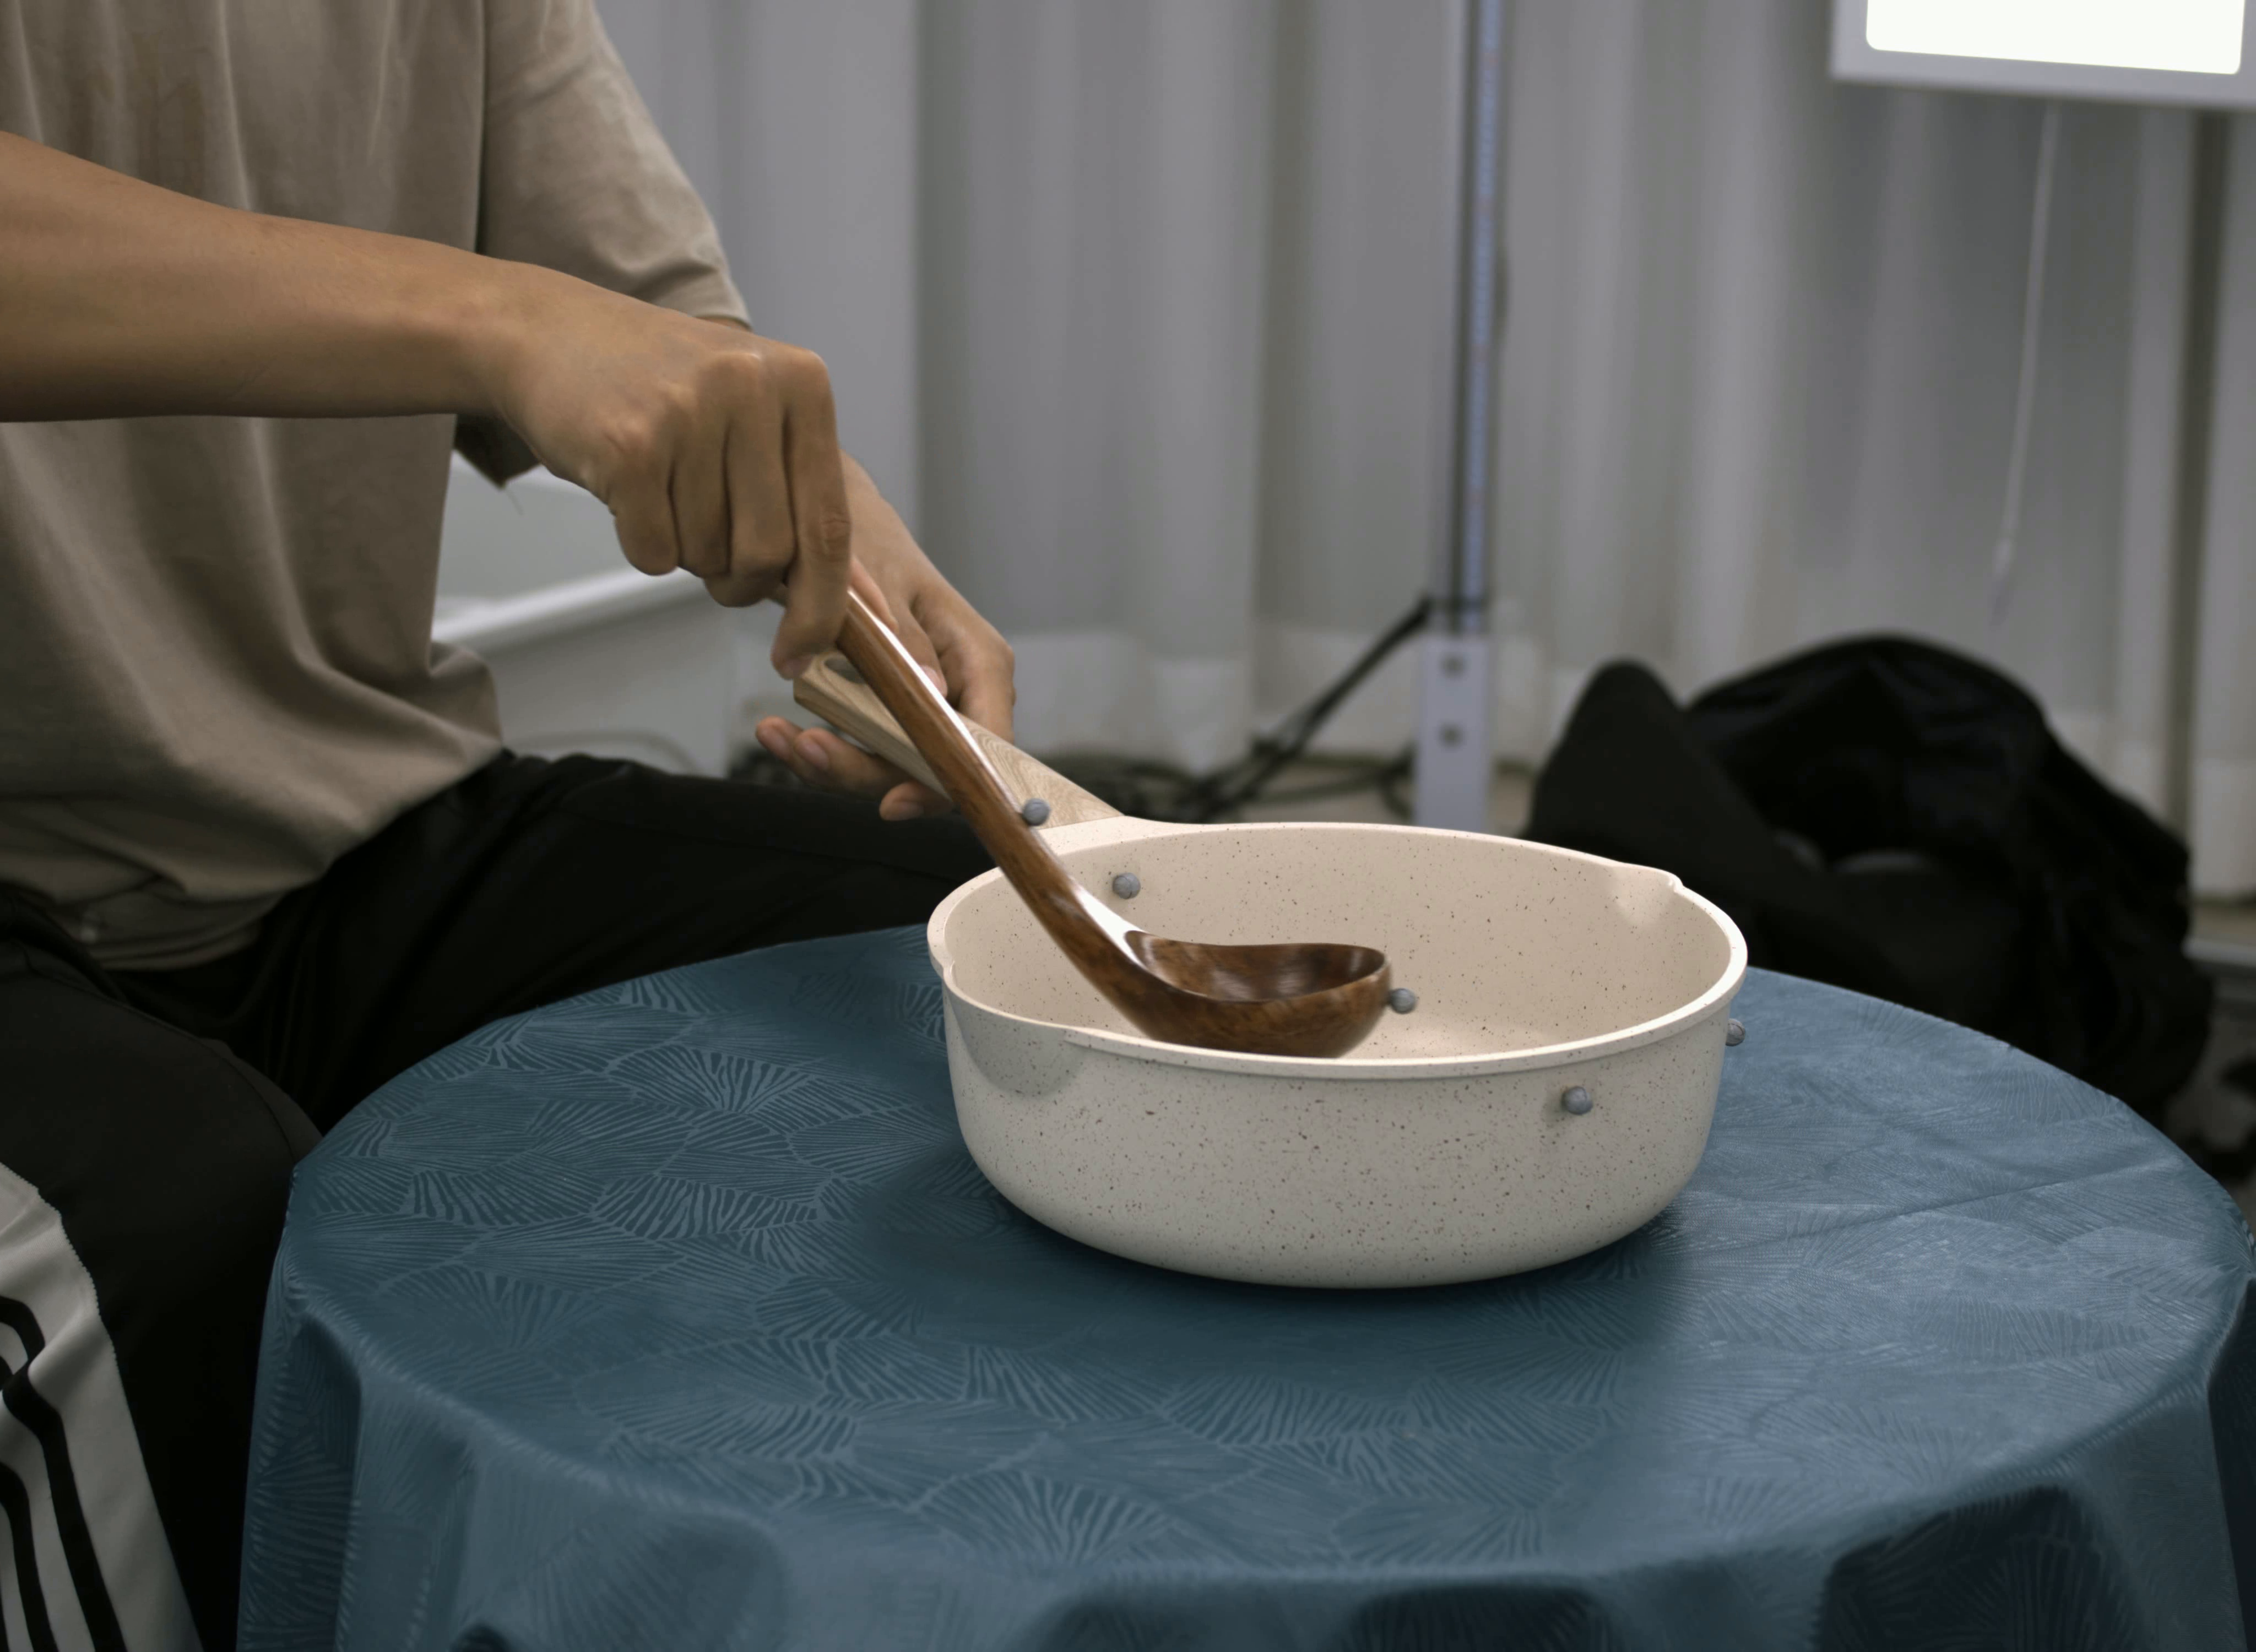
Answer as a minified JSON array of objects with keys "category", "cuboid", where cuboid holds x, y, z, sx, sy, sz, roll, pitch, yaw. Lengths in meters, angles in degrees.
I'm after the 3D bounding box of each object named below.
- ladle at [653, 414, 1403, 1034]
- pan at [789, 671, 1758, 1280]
[{"category":"ladle","cuboid":[-0.026,-0.033,1.554,0.076,0.275,0.082,-39,5,5]},{"category":"pan","cuboid":[0.016,0.042,1.695,0.264,0.103,0.429,-12,20,-33]}]
